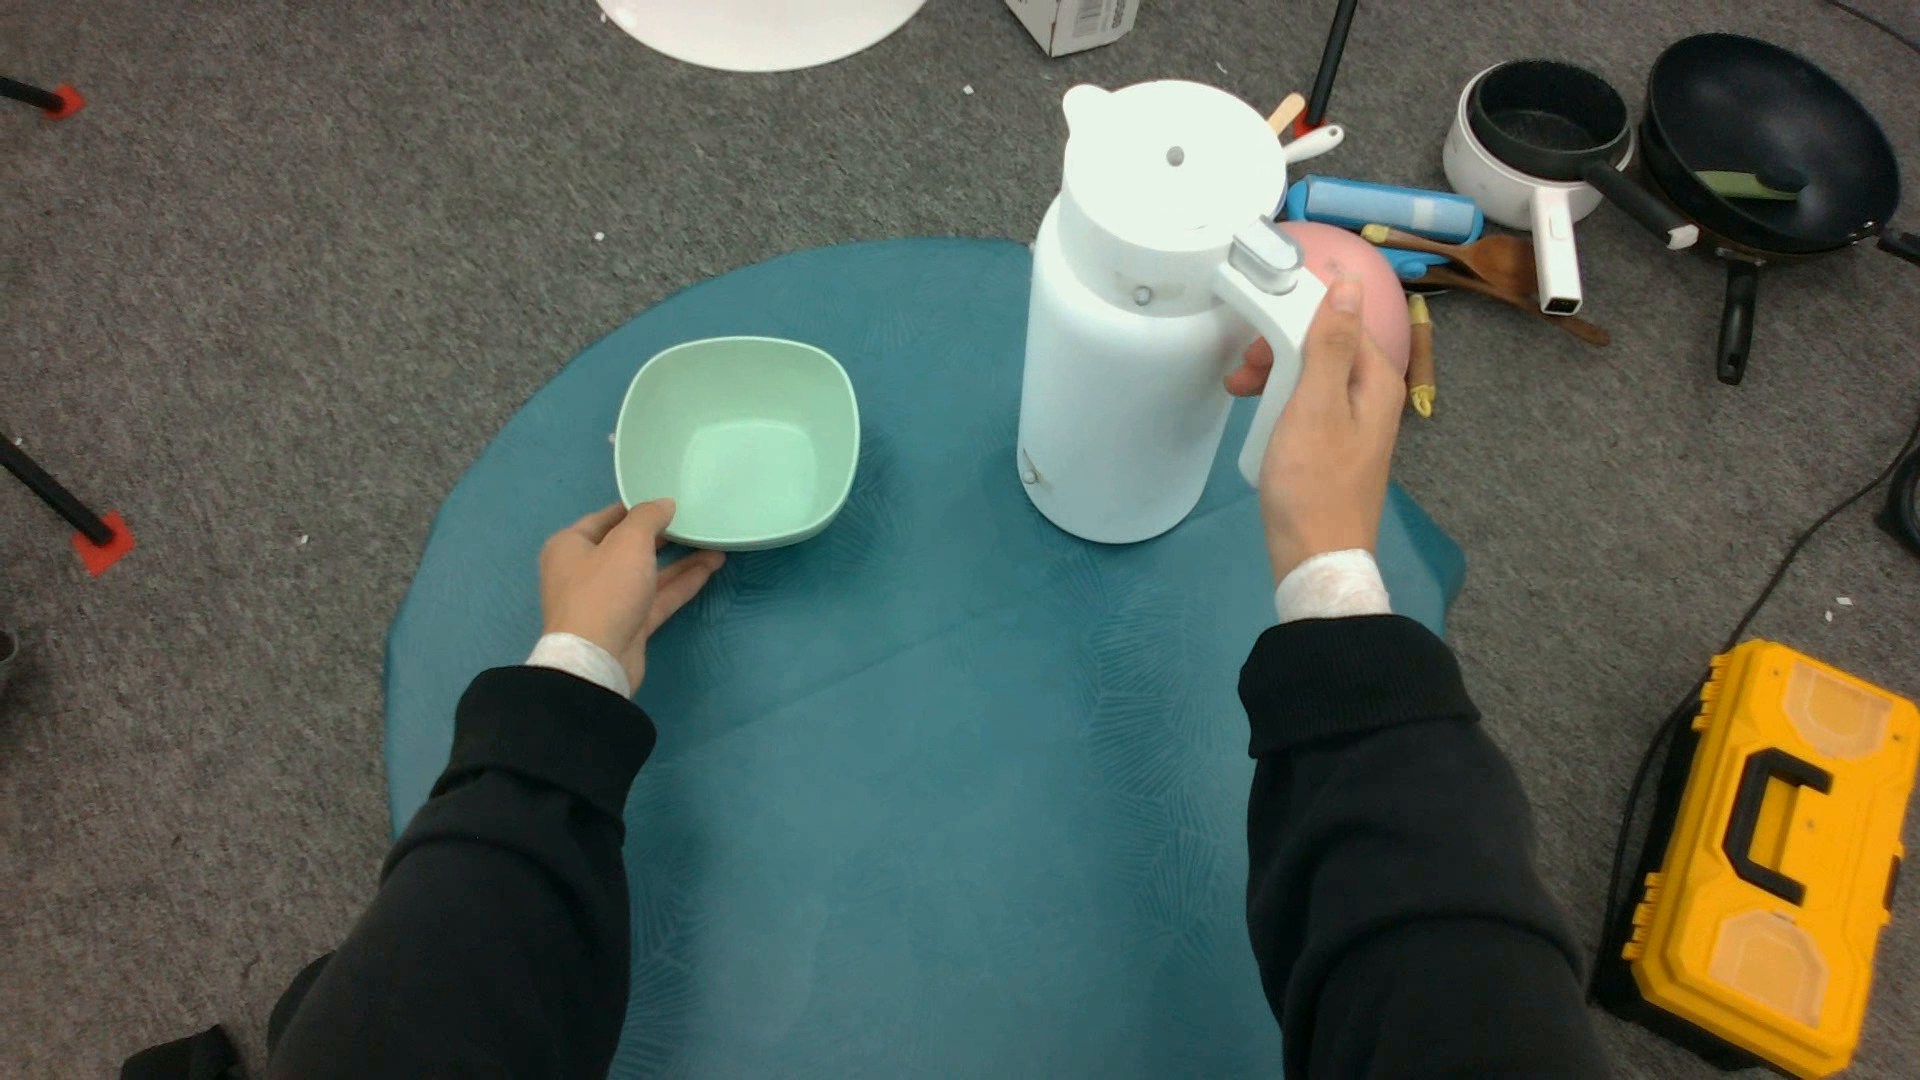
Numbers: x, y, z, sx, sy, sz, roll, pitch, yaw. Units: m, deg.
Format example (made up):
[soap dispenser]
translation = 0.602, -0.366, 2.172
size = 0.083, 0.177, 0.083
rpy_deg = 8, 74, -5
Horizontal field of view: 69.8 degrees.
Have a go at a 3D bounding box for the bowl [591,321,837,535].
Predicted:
[bowl]
translation = -0.140, -0.056, 0.807
size = 0.151, 0.058, 0.152
rpy_deg = 1, 62, -1

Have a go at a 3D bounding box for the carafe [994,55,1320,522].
[carafe]
translation = 0.094, -0.108, 0.724
size = 0.124, 0.267, 0.173
rpy_deg = -37, 70, -21
